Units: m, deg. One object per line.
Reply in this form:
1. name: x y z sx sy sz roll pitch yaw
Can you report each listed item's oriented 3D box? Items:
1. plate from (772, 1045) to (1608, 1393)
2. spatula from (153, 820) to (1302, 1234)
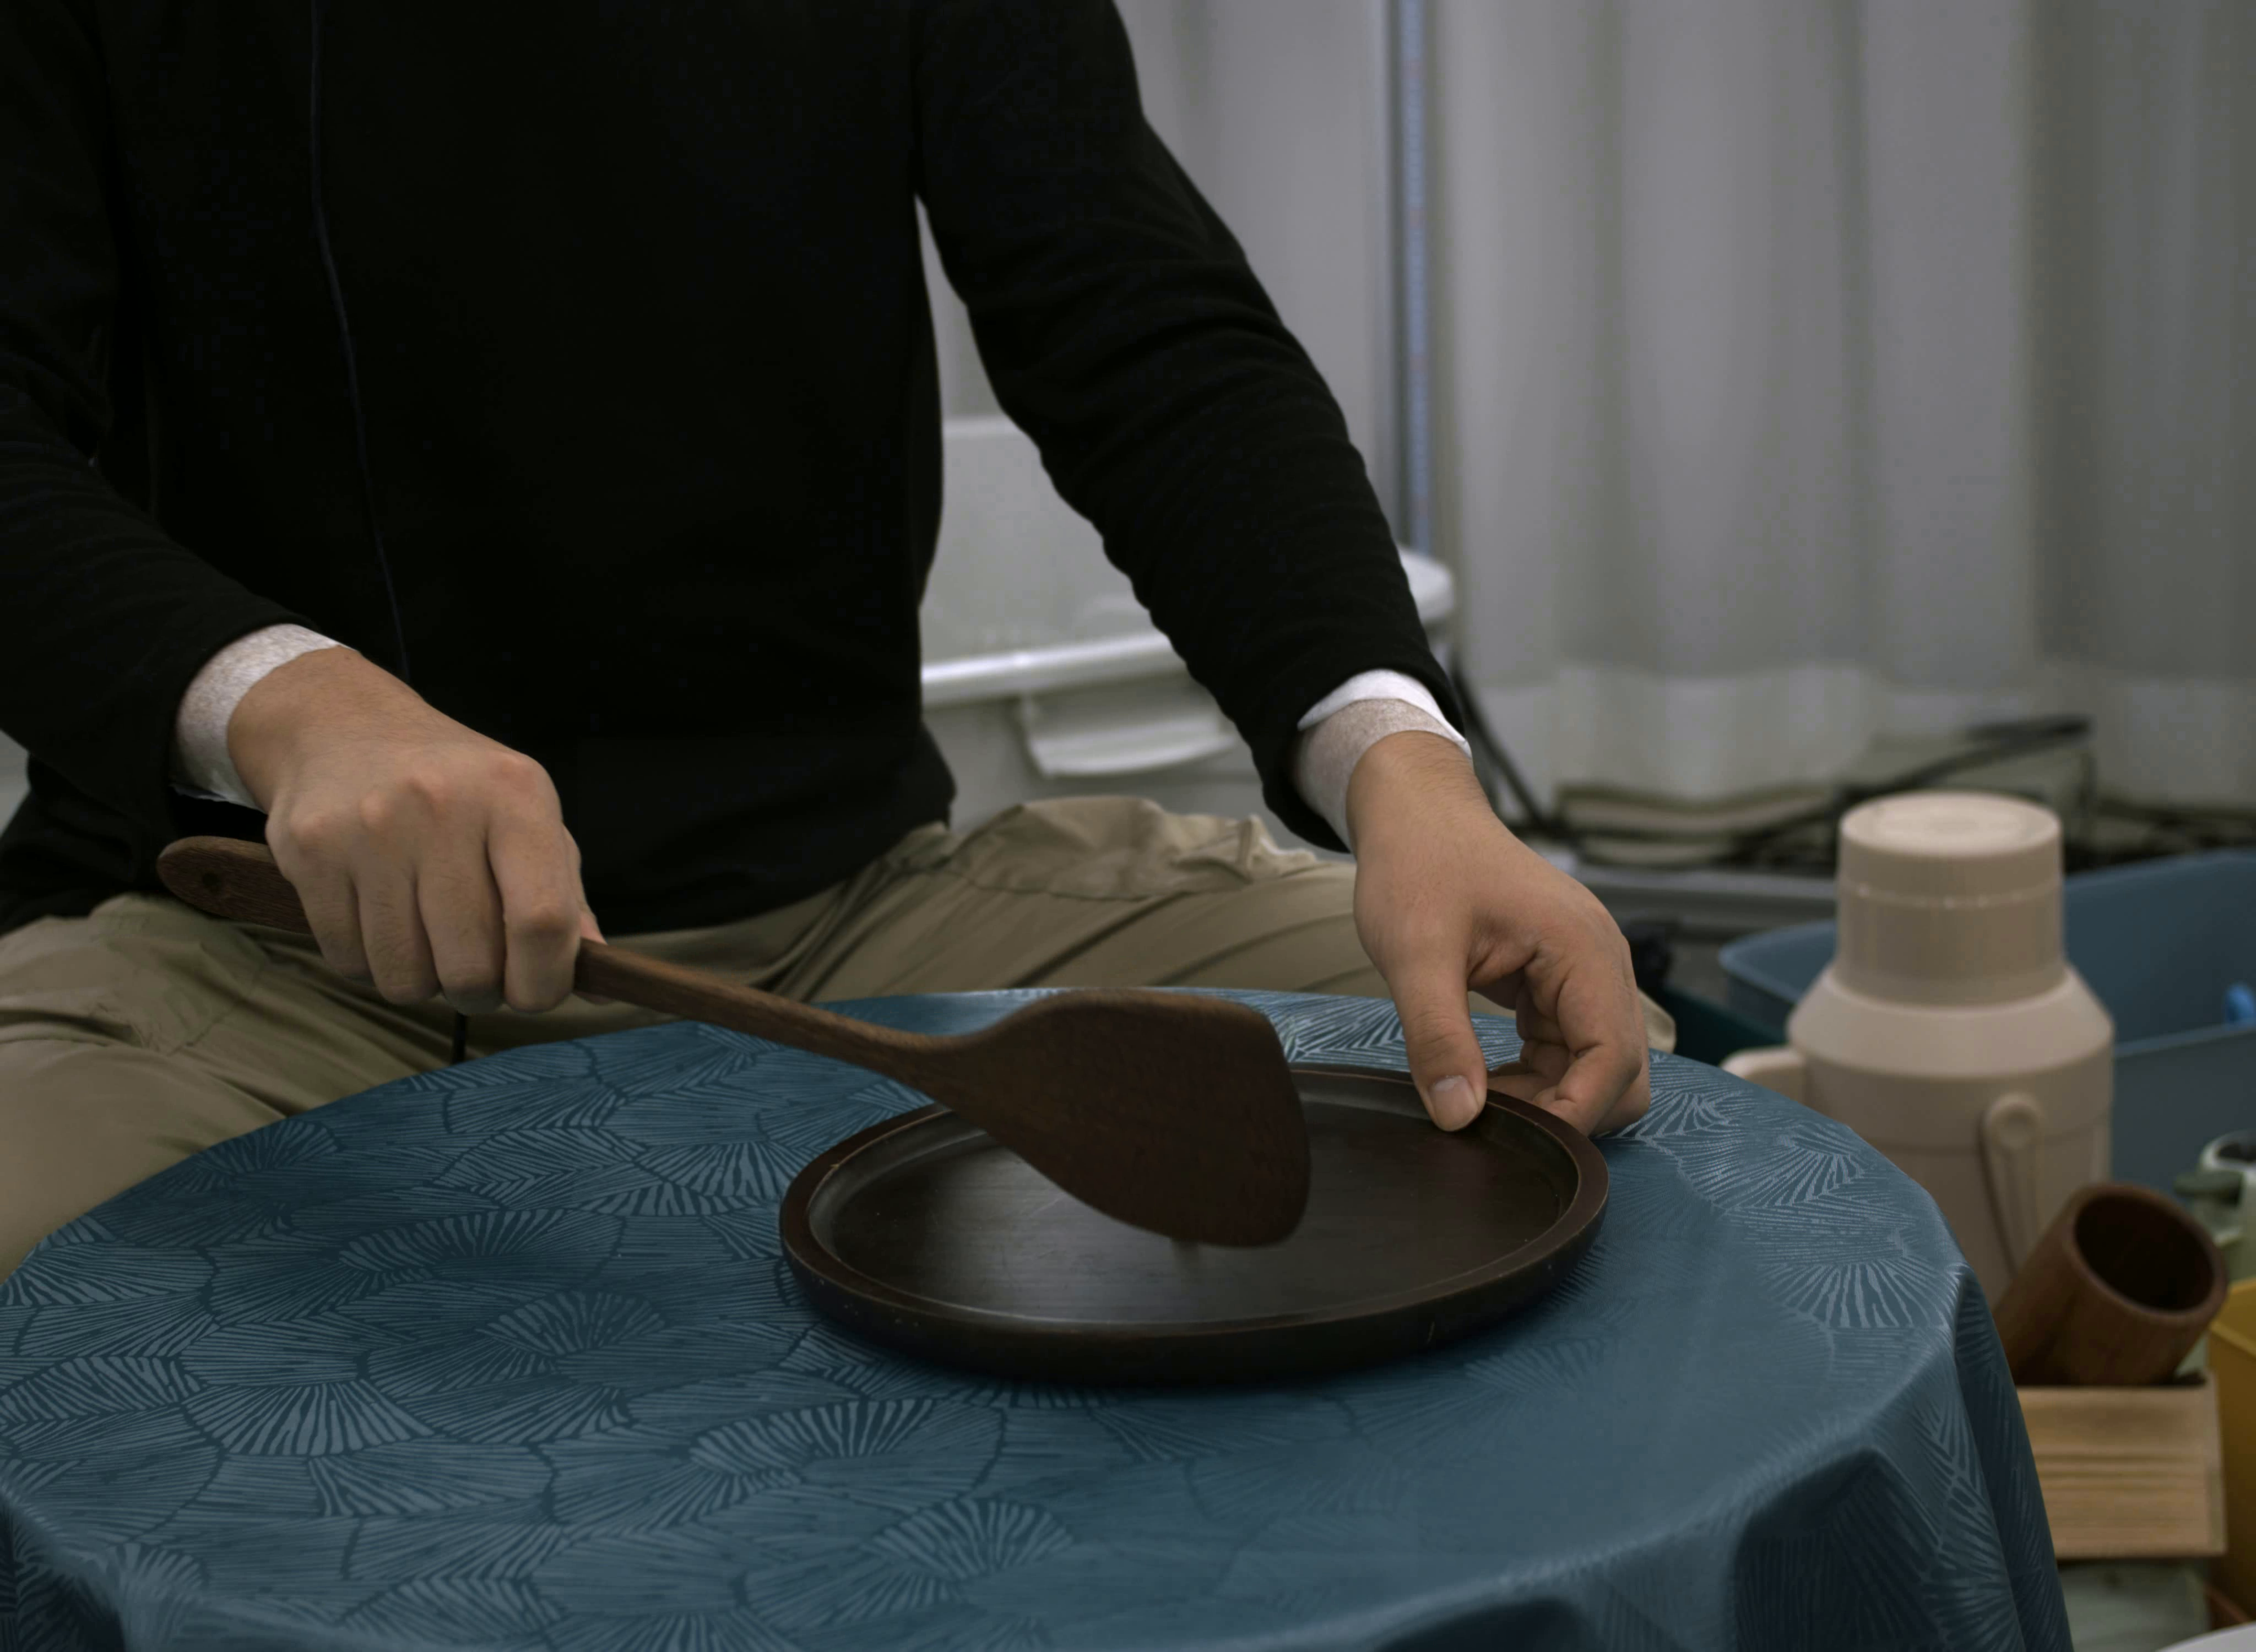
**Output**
1. plate: 0.019 0.118 1.649 0.254 0.029 0.256 -4 15 1
2. spatula: -0.124 0.047 1.605 0.387 0.095 0.016 13 42 24
